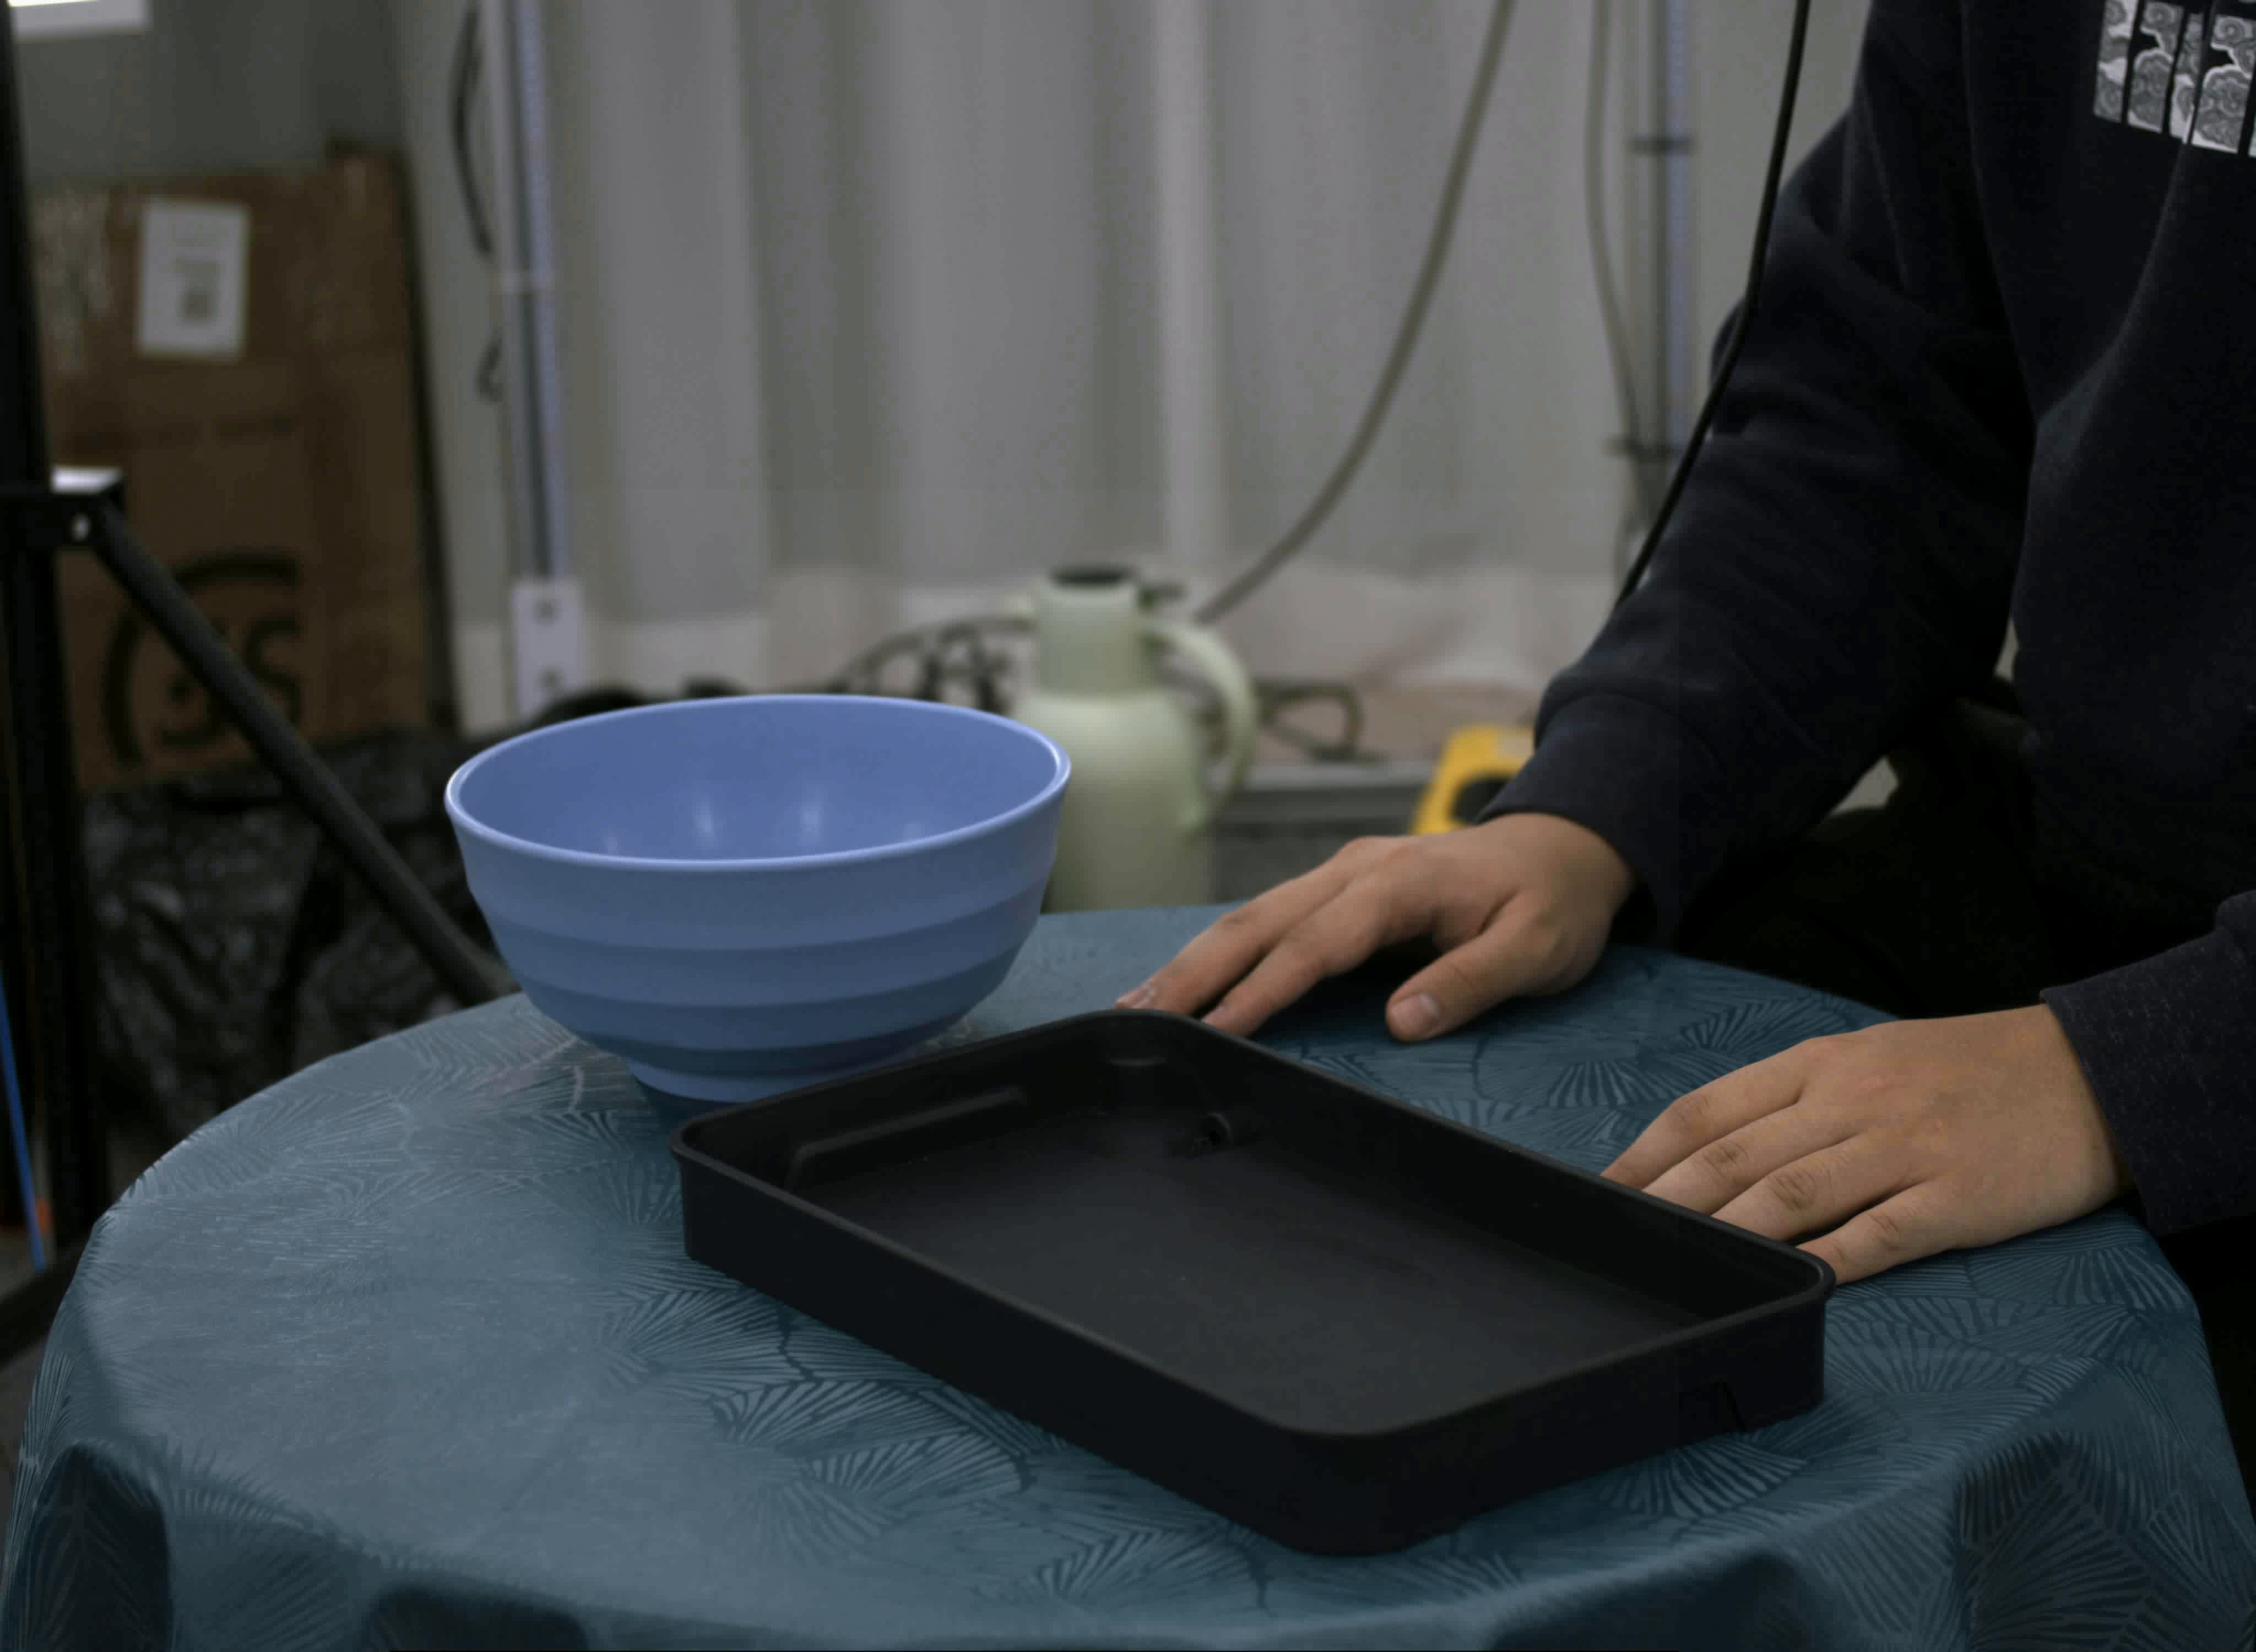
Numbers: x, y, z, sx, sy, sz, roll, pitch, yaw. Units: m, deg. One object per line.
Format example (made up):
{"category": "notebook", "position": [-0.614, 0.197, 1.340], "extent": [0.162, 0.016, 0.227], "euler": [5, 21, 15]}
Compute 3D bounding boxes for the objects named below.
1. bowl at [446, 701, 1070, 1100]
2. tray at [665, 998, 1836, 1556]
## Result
{"category": "bowl", "position": [-0.113, 0.028, 1.681], "extent": [0.195, 0.095, 0.197], "euler": [-4, 14, 0]}
{"category": "tray", "position": [0.027, 0.116, 1.454], "extent": [0.180, 0.037, 0.325], "euler": [-13, 19, -34]}
